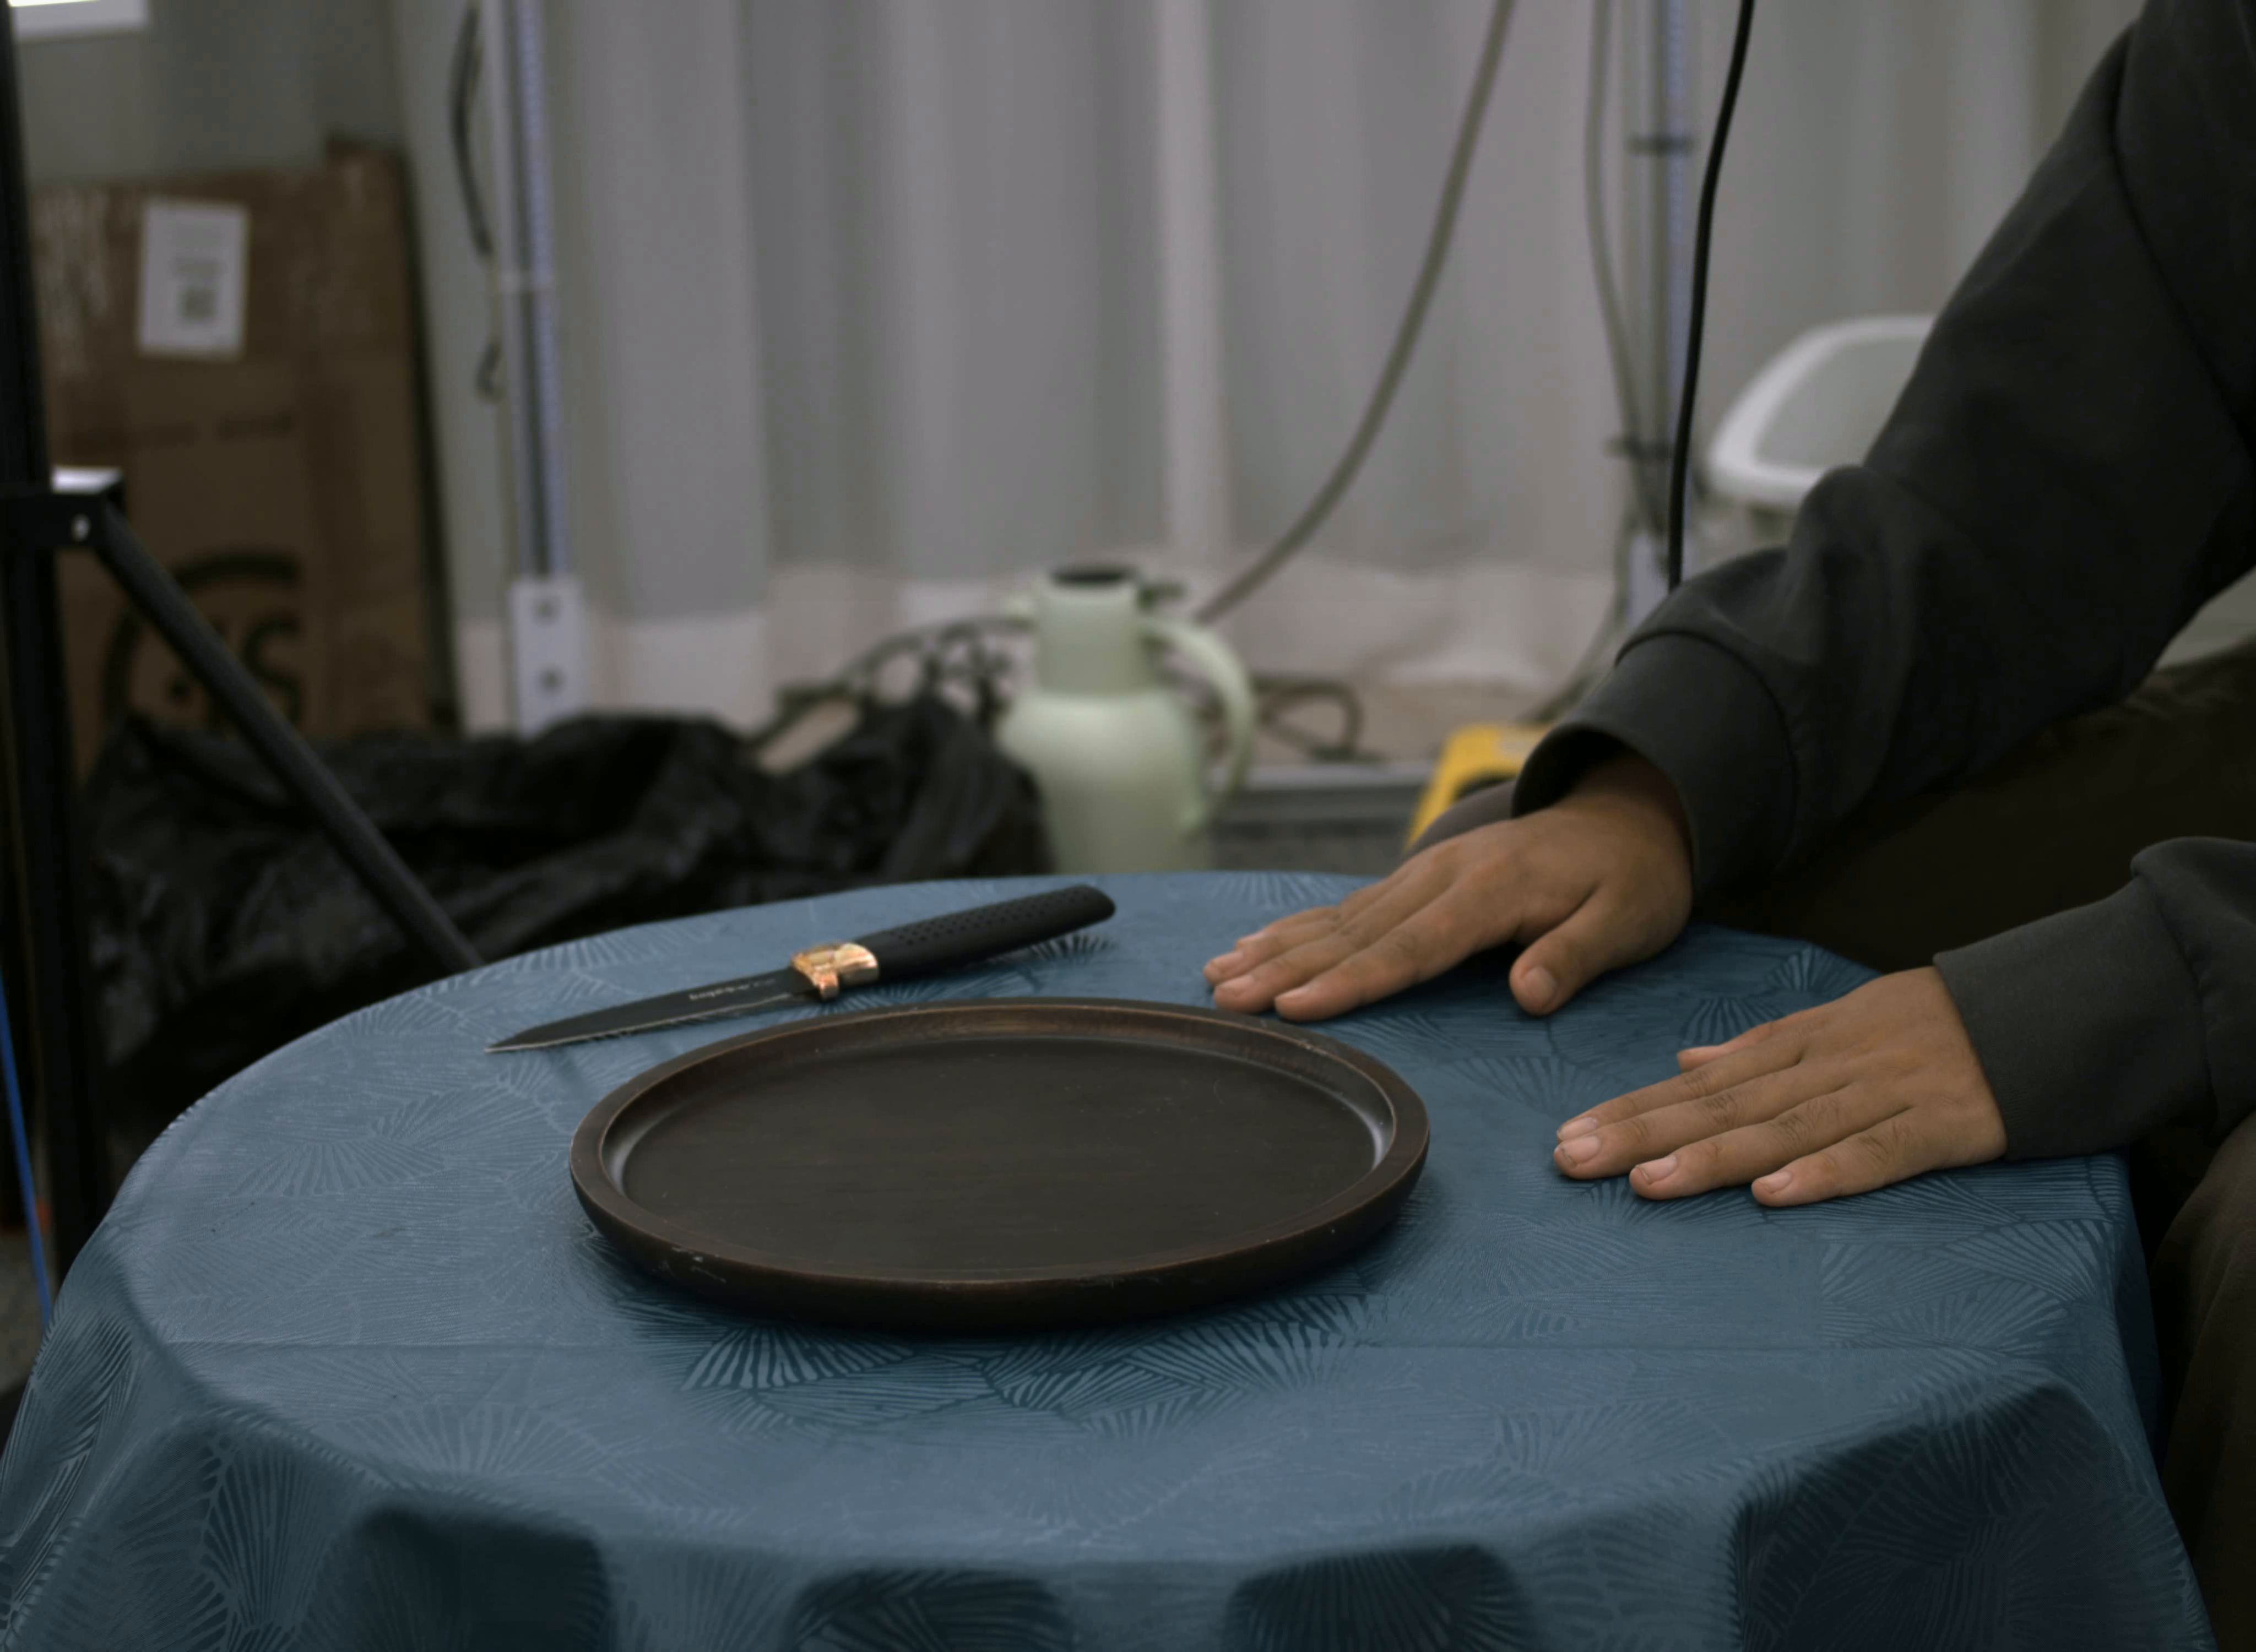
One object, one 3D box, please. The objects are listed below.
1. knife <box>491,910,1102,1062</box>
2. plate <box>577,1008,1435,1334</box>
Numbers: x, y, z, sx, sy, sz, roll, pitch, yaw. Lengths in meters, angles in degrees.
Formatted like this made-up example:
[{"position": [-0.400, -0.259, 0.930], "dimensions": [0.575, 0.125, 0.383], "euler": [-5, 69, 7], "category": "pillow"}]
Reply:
[{"position": [-0.106, 0.053, 1.747], "dimensions": [0.221, 0.017, 0.027], "euler": [-11, 22, -24], "category": "knife"}, {"position": [-0.035, 0.098, 1.555], "dimensions": [0.253, 0.029, 0.256], "euler": [-2, 14, -1], "category": "plate"}]
